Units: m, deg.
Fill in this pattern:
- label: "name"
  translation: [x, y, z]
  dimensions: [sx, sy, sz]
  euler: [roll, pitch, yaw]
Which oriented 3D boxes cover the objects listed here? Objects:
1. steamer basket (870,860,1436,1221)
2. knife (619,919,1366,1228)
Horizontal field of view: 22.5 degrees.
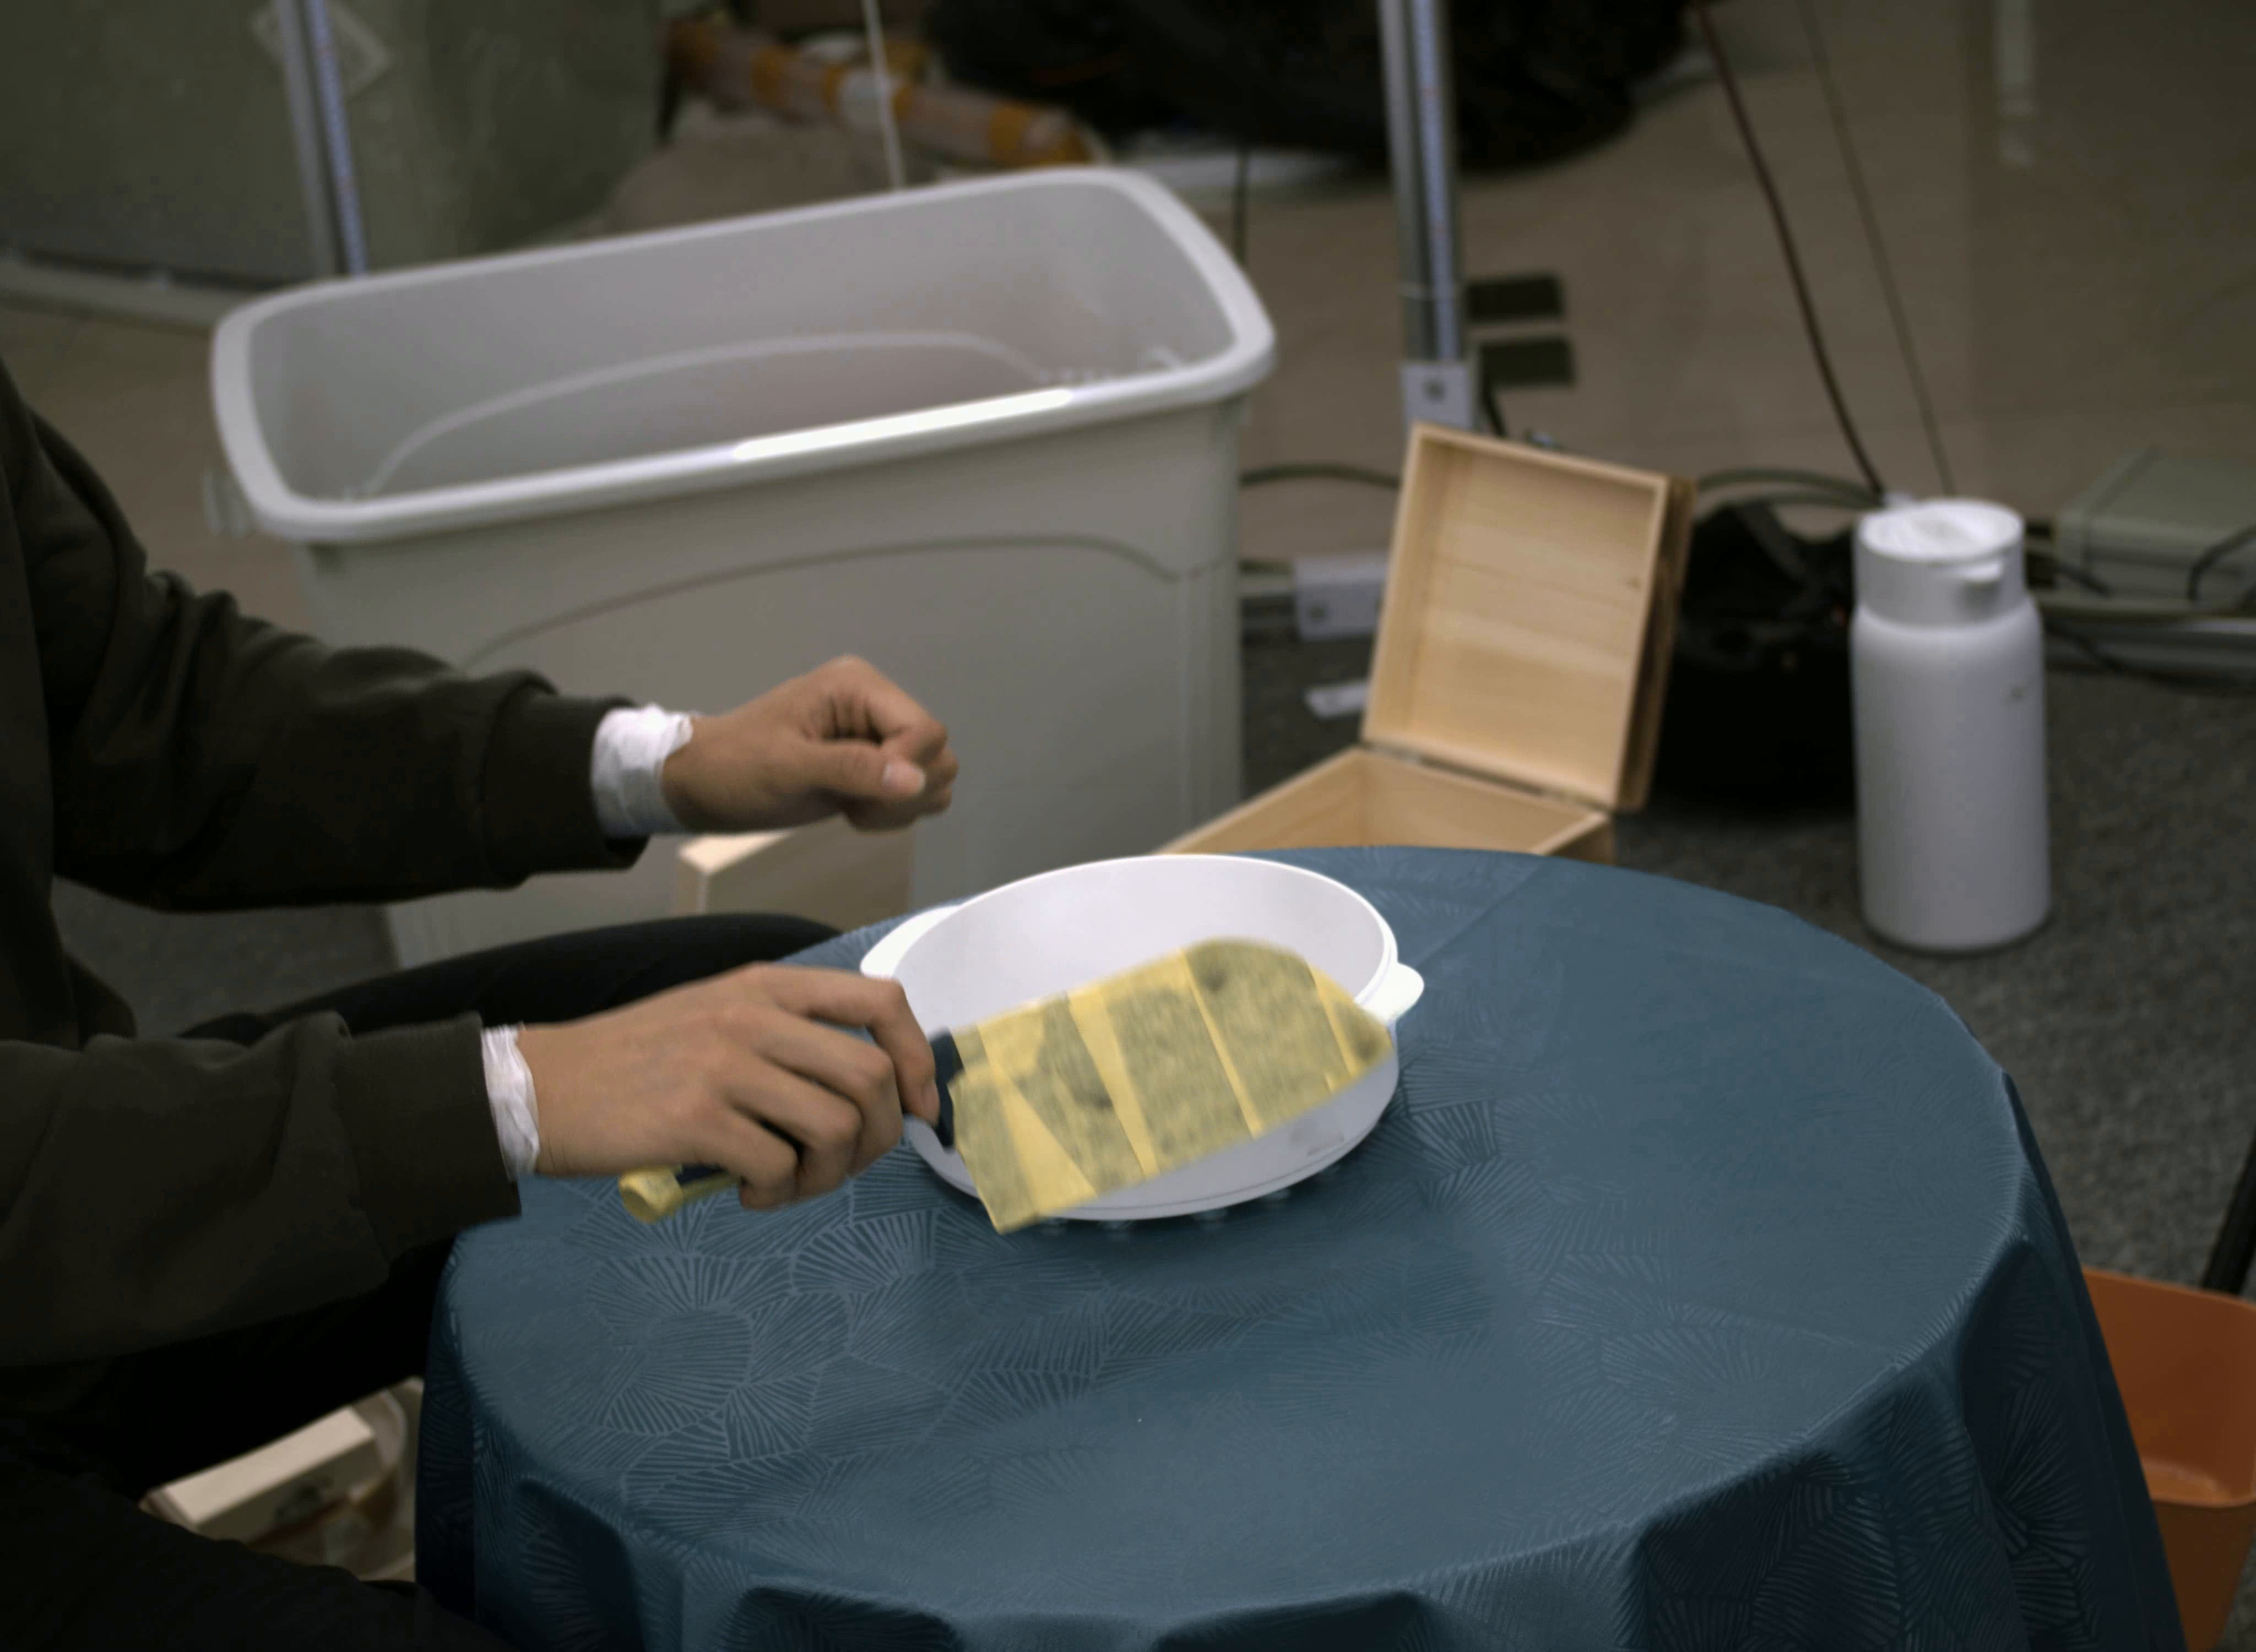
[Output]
- label: "steamer basket"
  translation: [0.011, 0.083, 2.188]
  dimensions: [0.229, 0.070, 0.199]
  euler: [7, 27, 29]
- label: "knife"
  translation: [-0.042, 0.098, 2.008]
  dimensions: [0.288, 0.080, 0.027]
  euler: [-17, -10, -21]
